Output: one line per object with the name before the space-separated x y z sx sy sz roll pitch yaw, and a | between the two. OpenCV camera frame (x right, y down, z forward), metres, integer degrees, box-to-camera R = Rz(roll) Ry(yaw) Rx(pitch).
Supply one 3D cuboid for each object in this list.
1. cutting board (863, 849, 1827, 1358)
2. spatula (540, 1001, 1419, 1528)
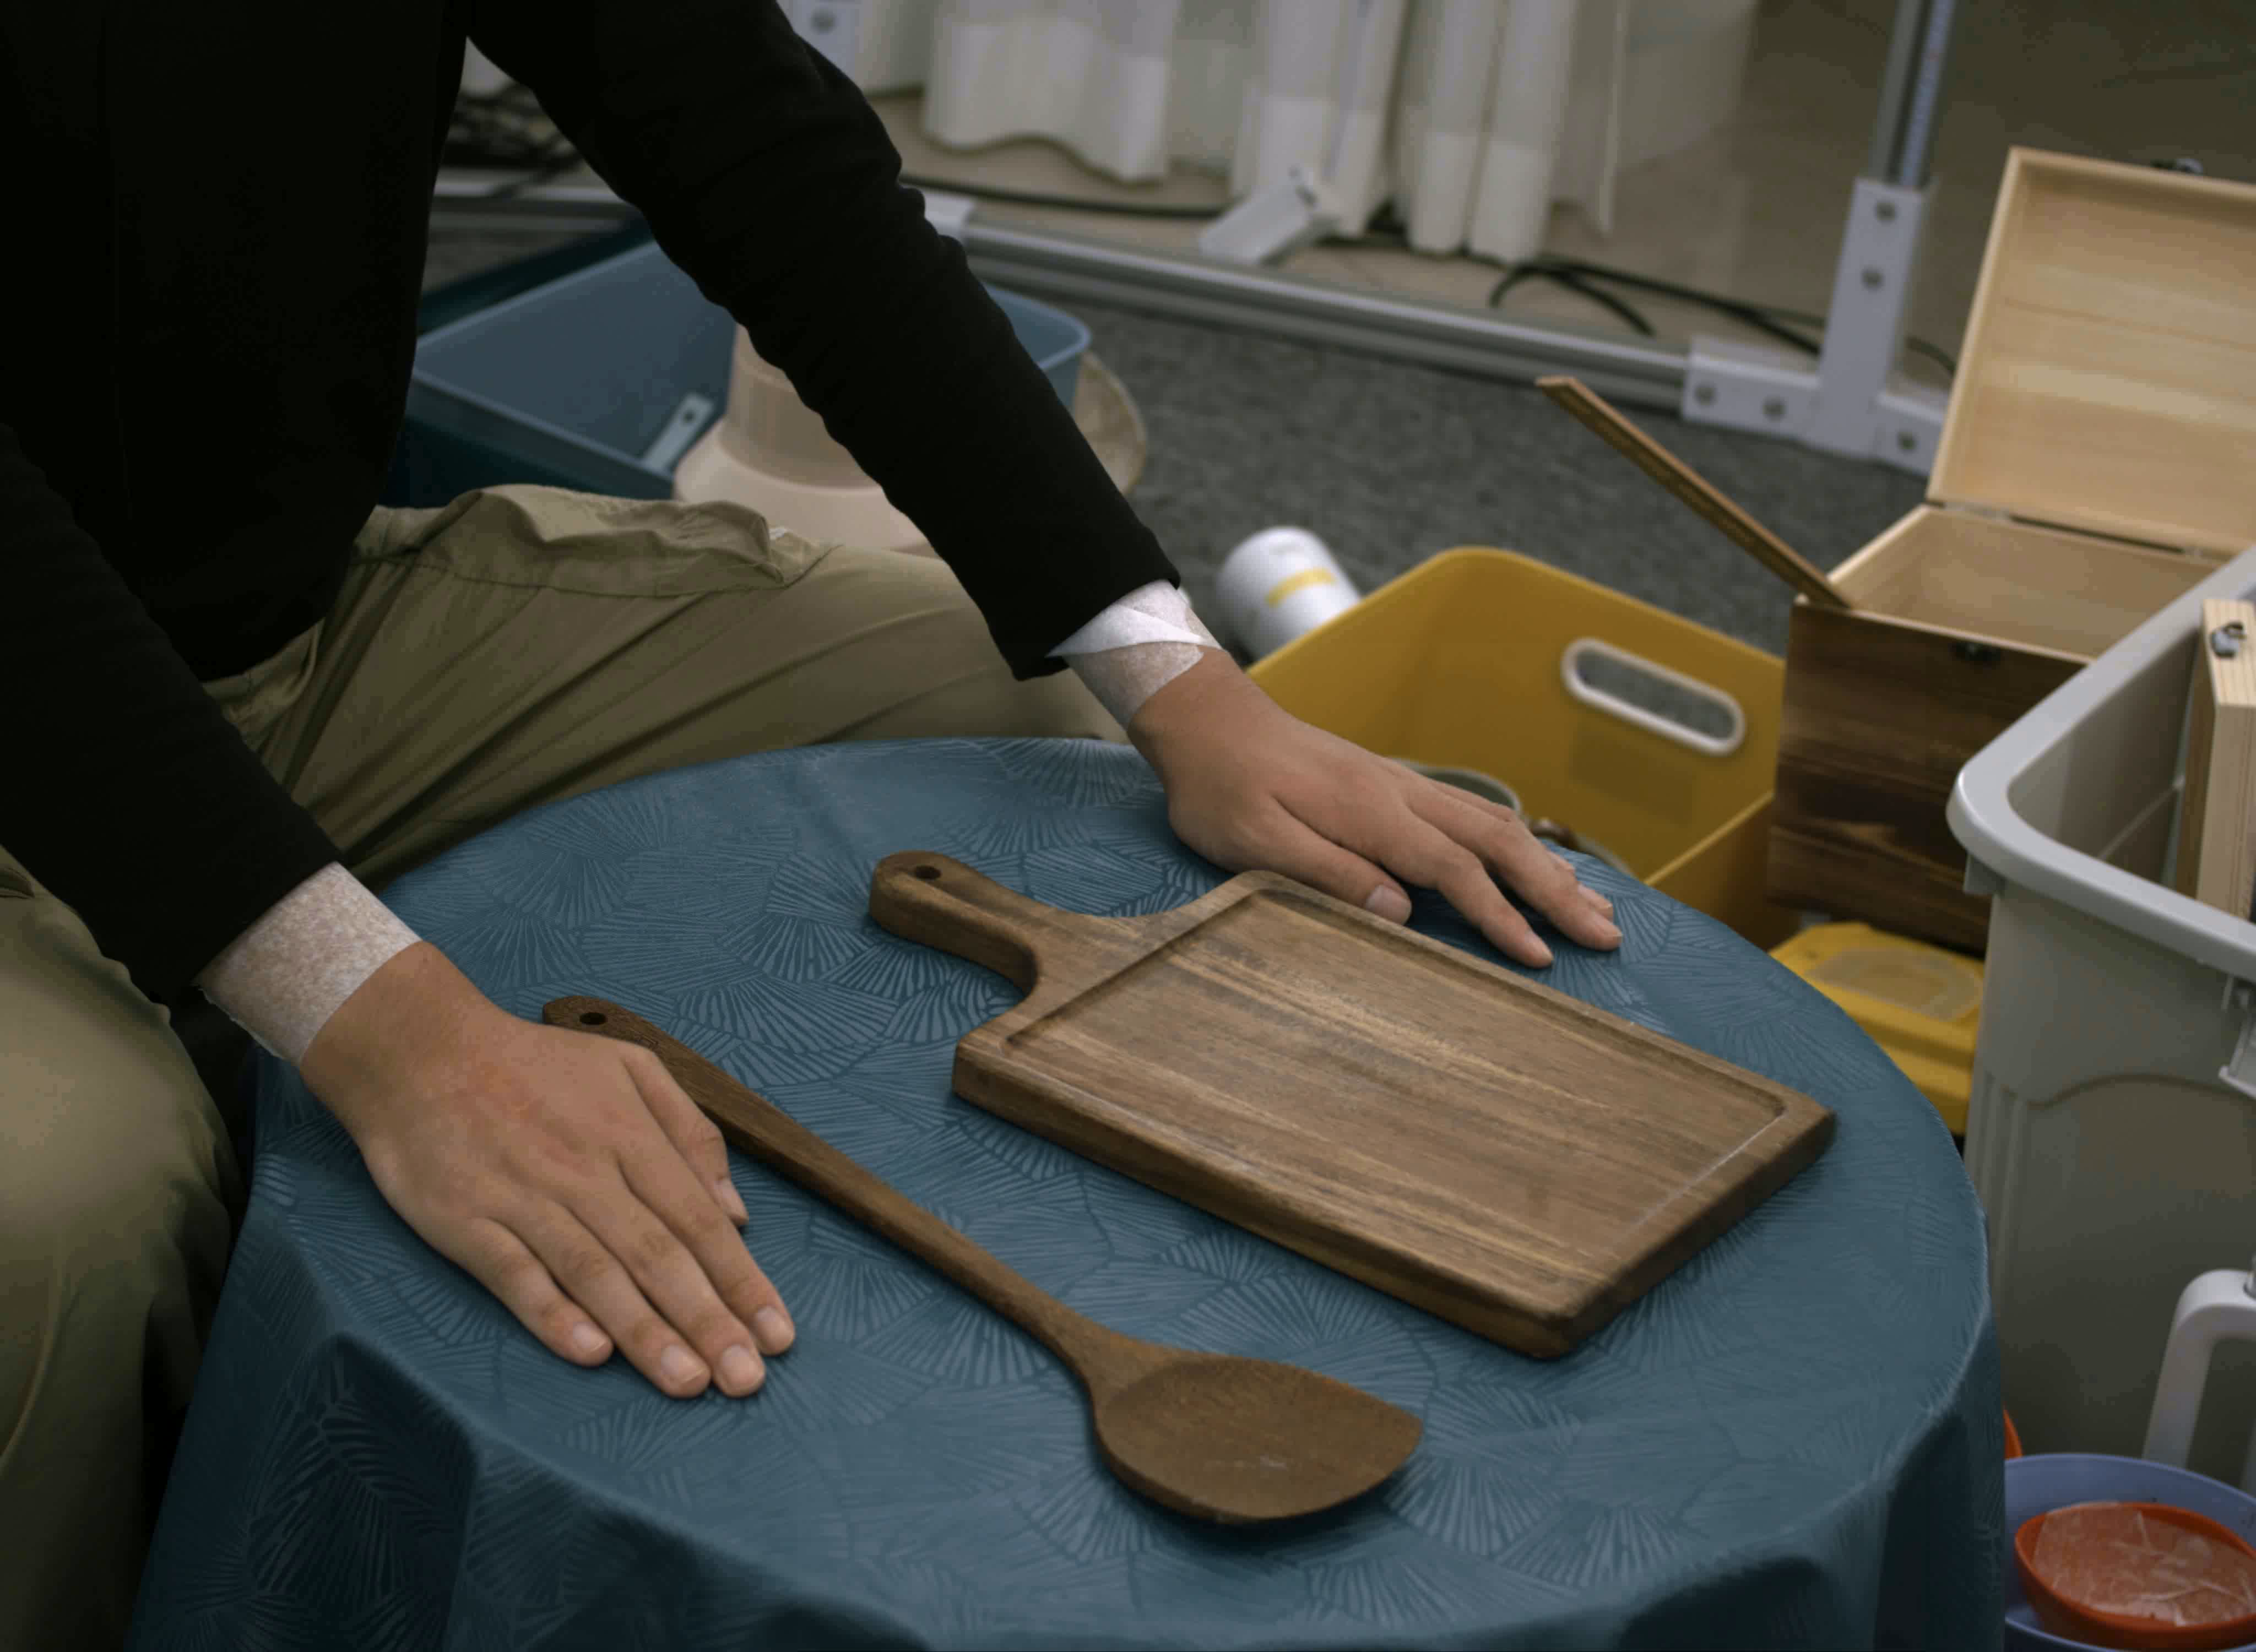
cutting board | 0.052 0.078 1.881 0.354 0.023 0.200 22 31 28
spatula | -0.067 0.135 1.748 0.095 0.016 0.389 -19 36 -41
